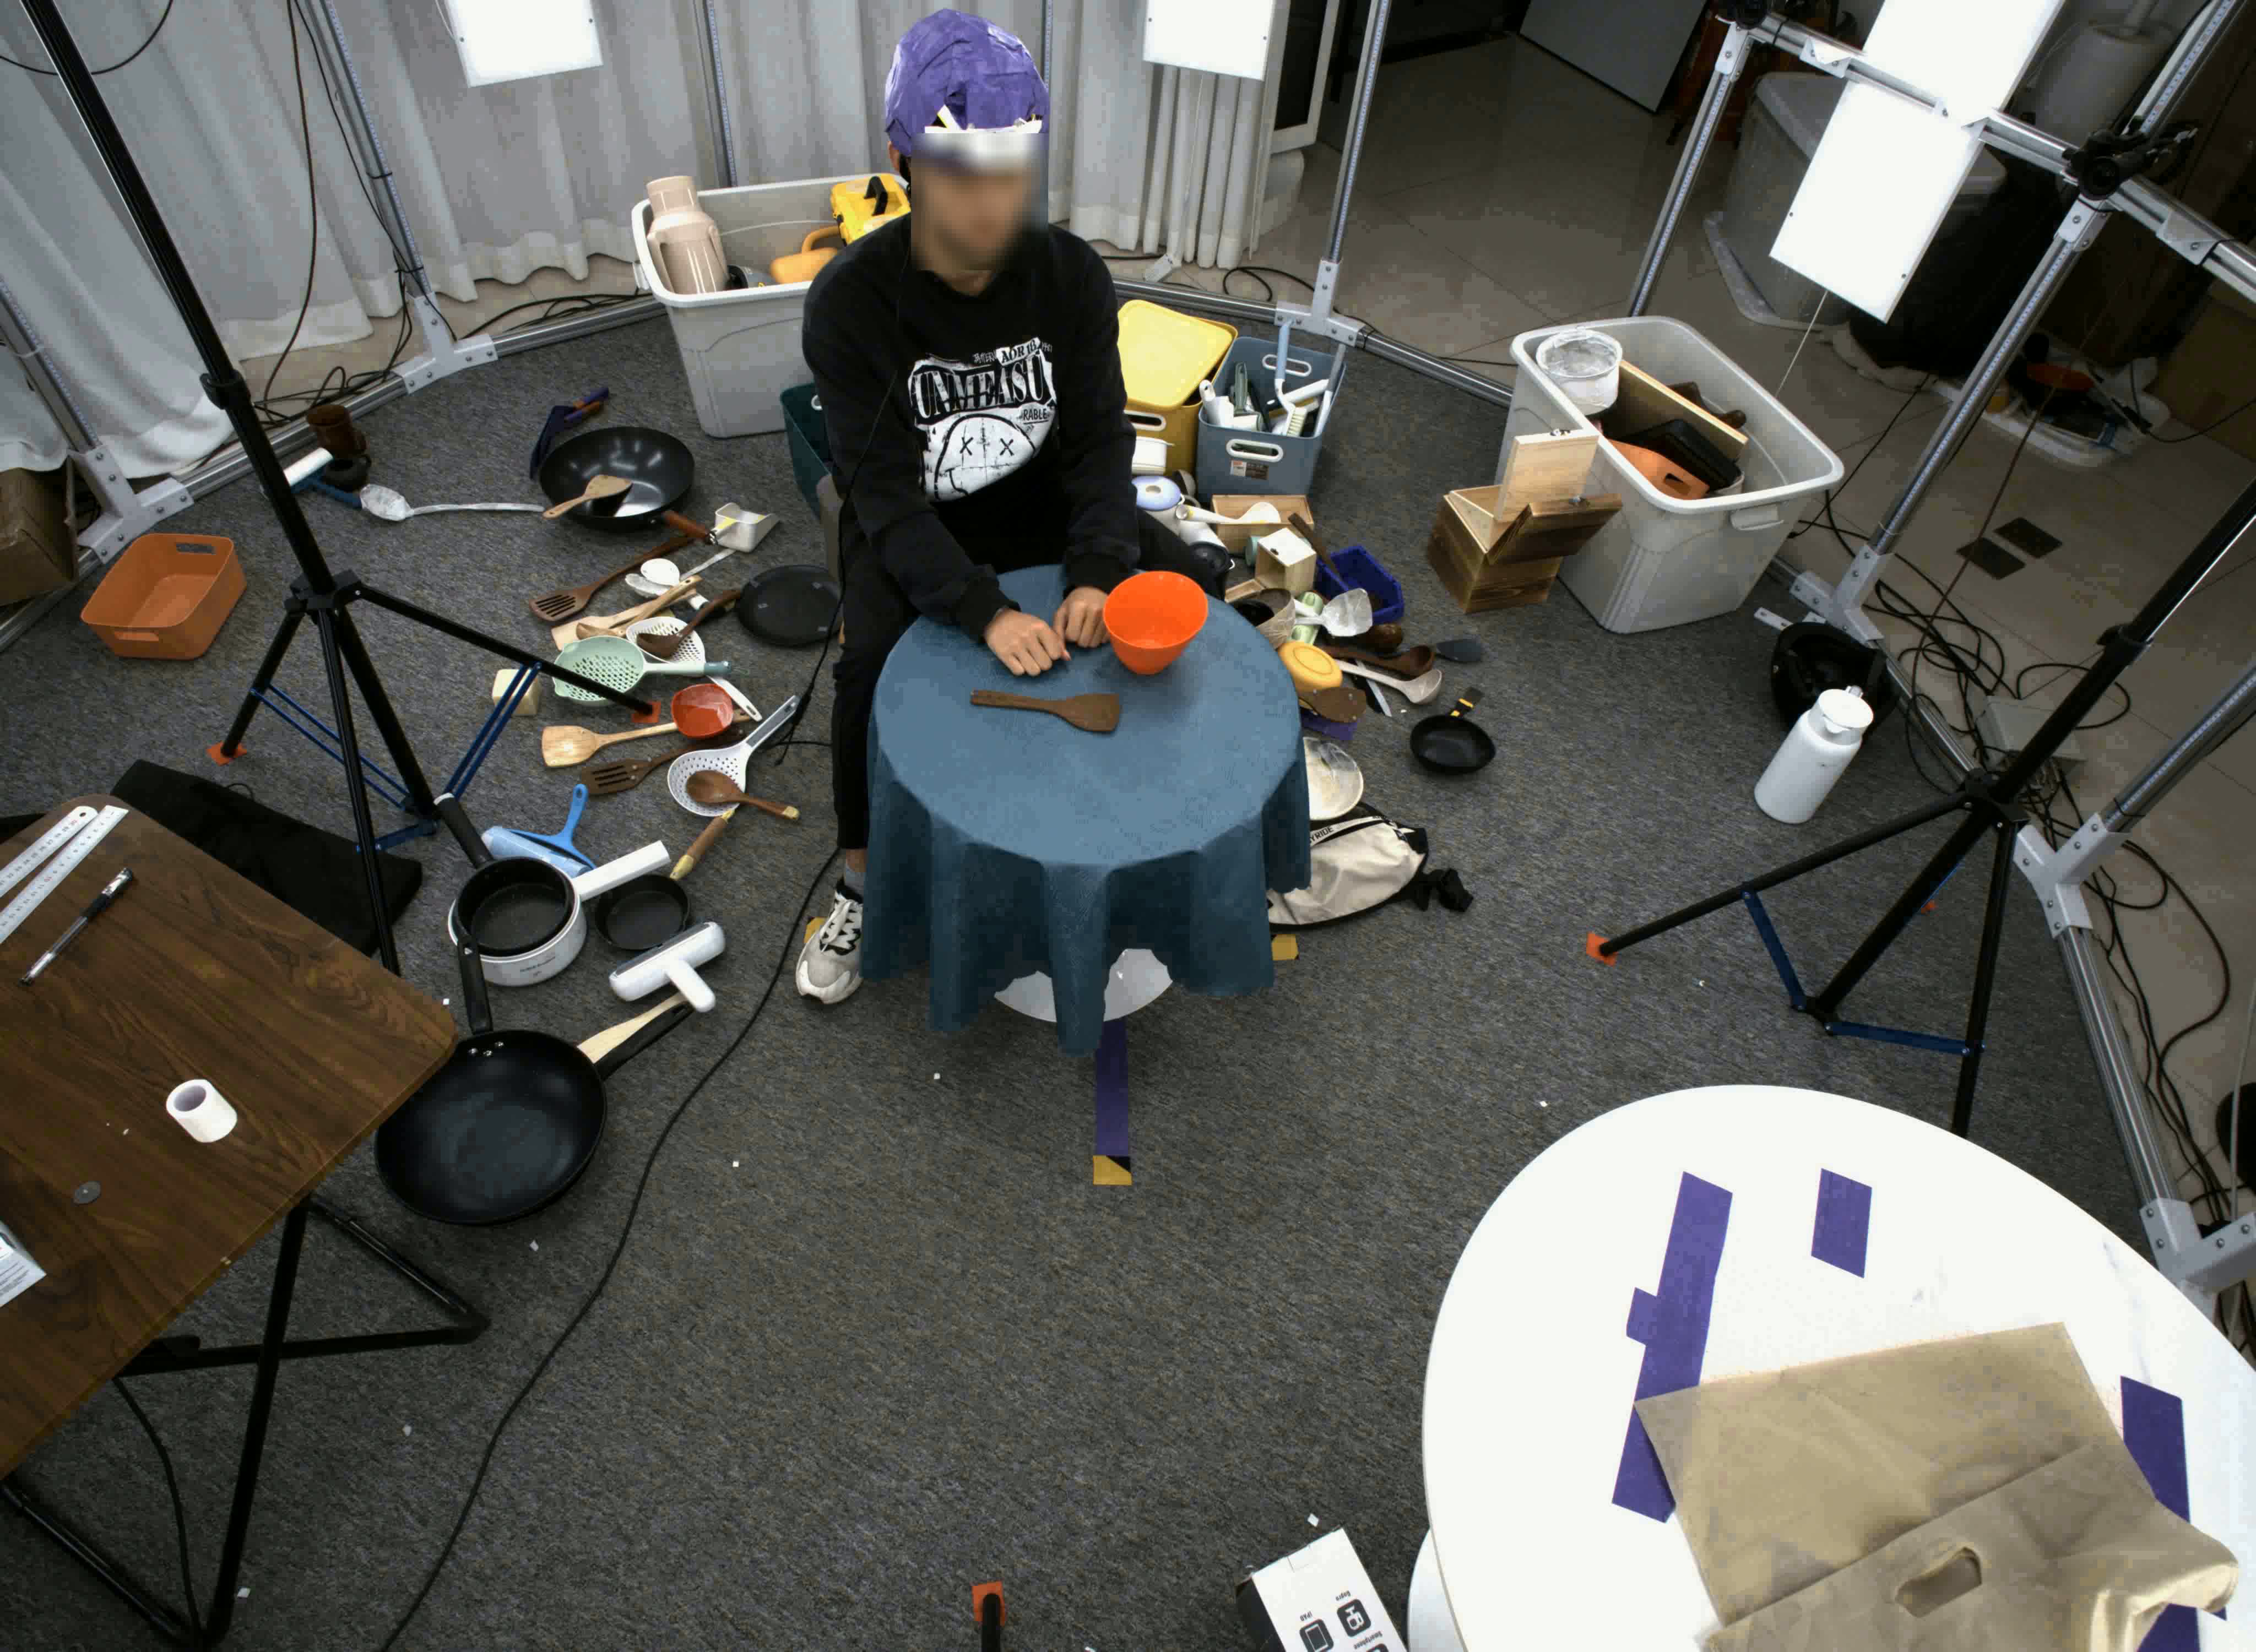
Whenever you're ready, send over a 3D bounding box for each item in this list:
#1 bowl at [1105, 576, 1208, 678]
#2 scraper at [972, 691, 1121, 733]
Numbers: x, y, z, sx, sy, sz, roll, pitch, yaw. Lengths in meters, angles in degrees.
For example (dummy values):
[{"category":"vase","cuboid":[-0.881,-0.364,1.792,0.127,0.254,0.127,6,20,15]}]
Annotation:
[{"category":"bowl","cuboid":[0.038,-0.279,1.865,0.148,0.102,0.152,2,49,-3]},{"category":"scraper","cuboid":[-0.116,-0.169,1.818,0.211,0.010,0.077,7,47,4]}]
